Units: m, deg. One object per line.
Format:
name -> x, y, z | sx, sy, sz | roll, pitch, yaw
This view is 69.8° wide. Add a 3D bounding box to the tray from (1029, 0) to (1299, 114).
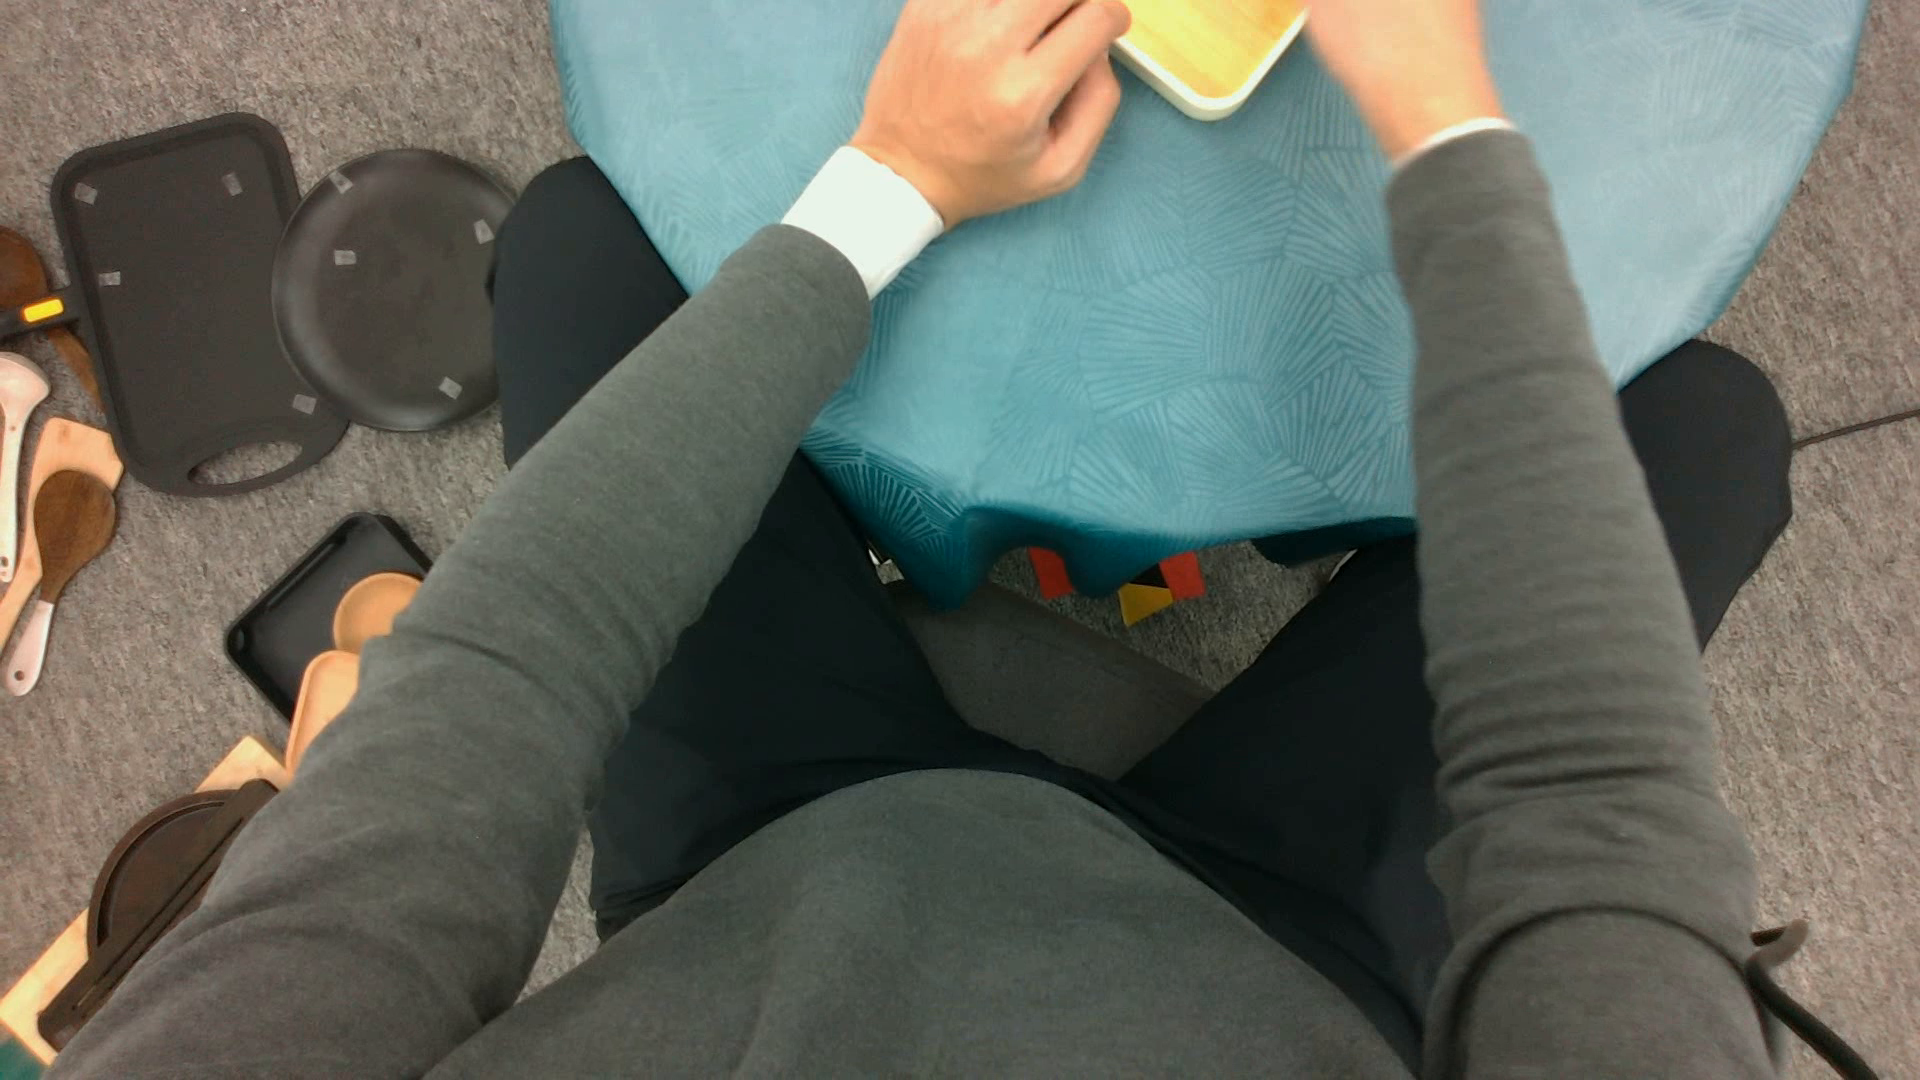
tray -> 0.048, -0.351, 0.610 | 0.300, 0.027, 0.191 | 39, 94, 0
